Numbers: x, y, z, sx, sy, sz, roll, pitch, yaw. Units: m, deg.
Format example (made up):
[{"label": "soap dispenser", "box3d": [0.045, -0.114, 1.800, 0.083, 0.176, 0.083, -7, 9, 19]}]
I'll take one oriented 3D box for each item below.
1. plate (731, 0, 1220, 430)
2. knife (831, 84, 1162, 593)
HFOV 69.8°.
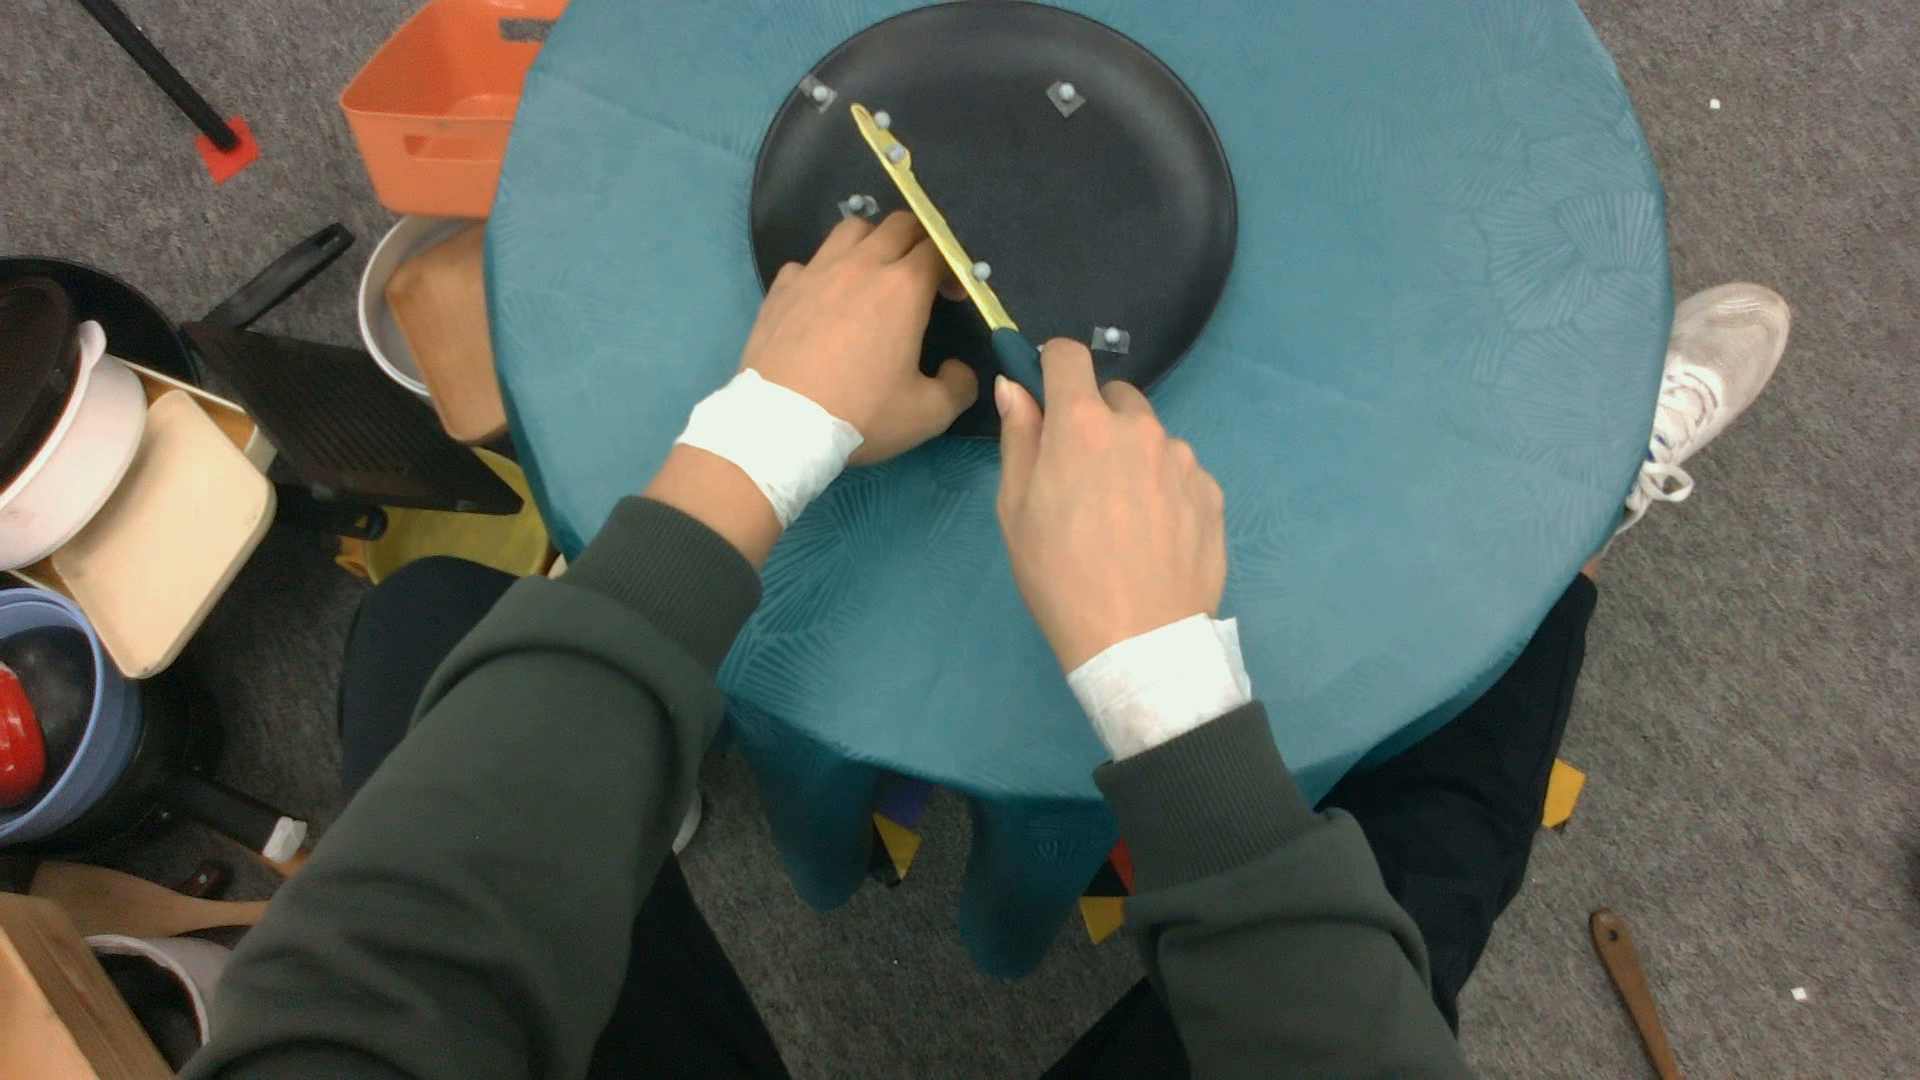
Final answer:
[{"label": "plate", "box3d": [0.008, -0.167, 0.694, 0.244, 0.023, 0.245, 0, 73, -1]}, {"label": "knife", "box3d": [0.011, -0.099, 0.618, 0.027, 0.081, 0.290, -35, 71, 14]}]
